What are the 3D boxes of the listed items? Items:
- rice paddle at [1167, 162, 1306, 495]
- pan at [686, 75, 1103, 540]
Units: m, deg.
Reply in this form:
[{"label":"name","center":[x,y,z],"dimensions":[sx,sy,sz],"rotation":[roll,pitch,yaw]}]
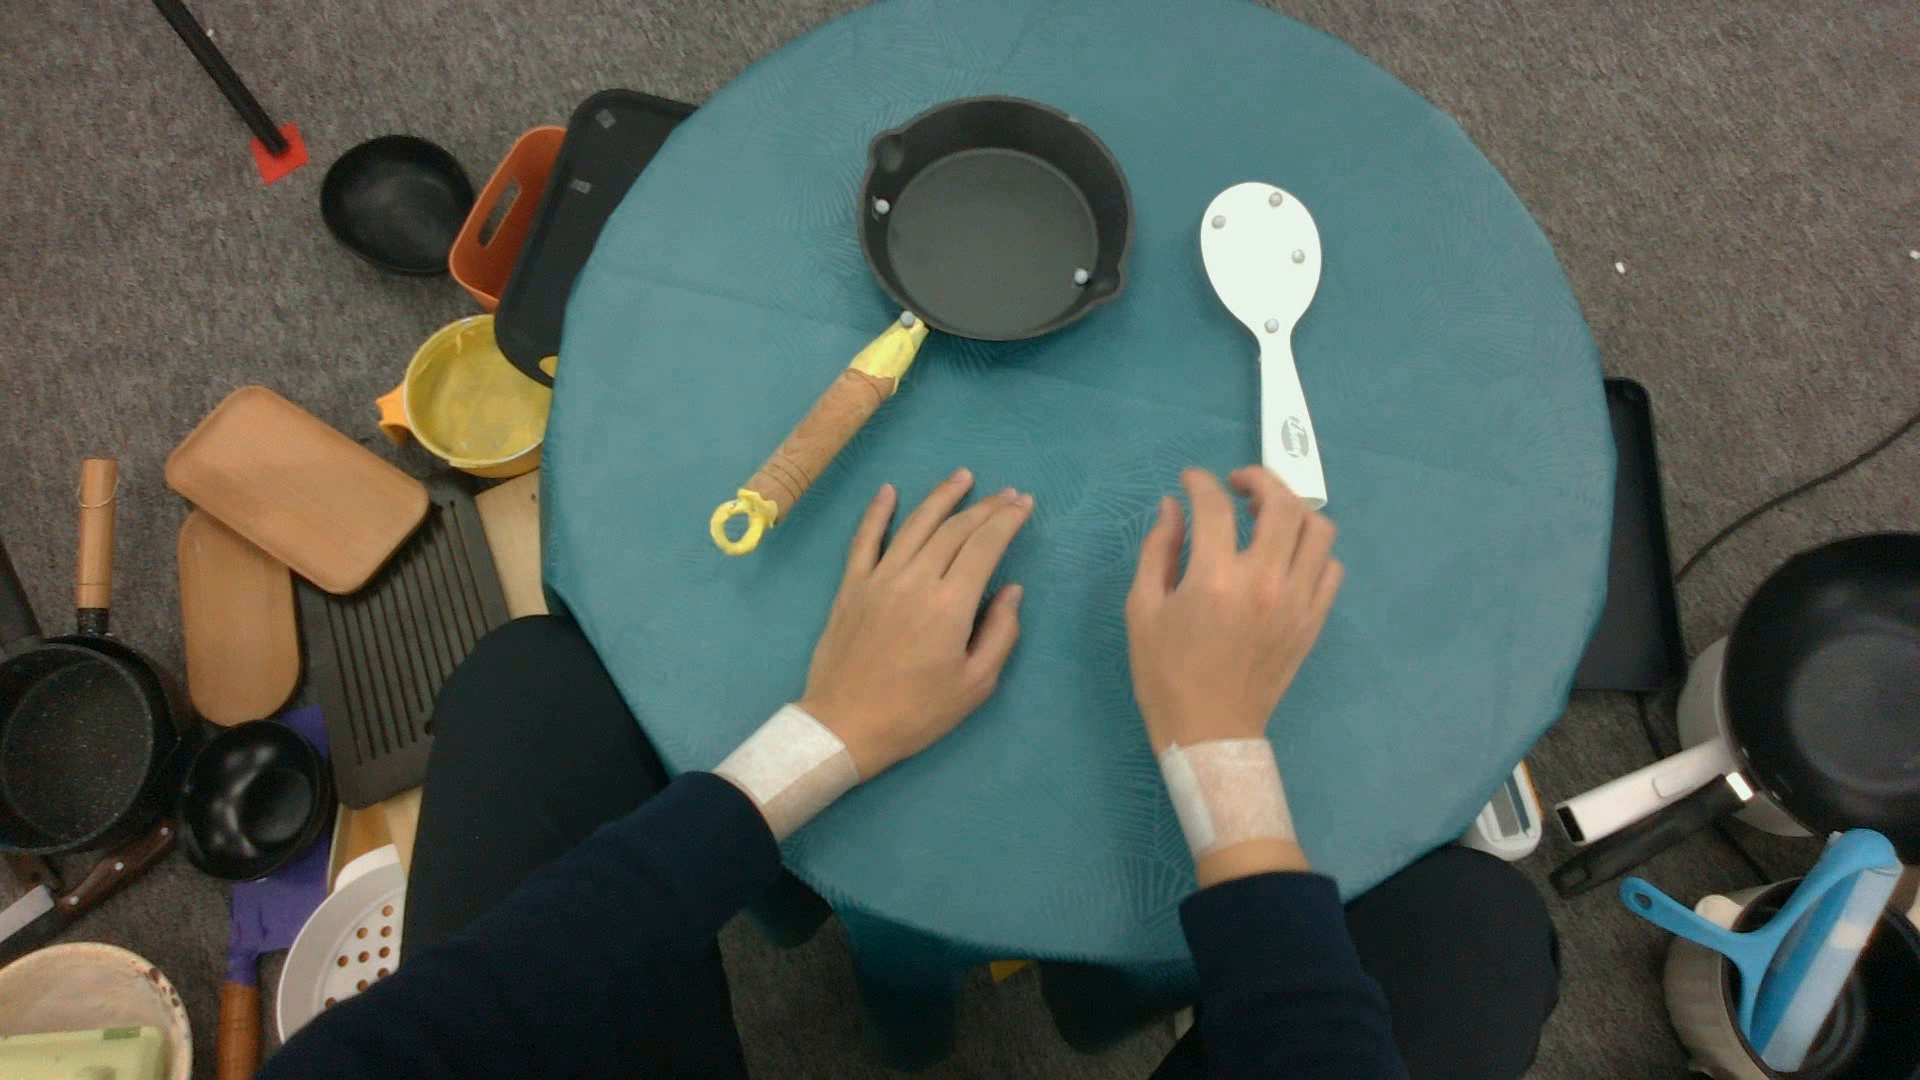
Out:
[{"label":"rice paddle","center":[0.161,-0.127,0.780],"dimensions":[0.069,0.029,0.206],"rotation":[-5,73,-7]},{"label":"pan","center":[-0.045,-0.127,0.757],"dimensions":[0.169,0.049,0.325],"rotation":[34,72,7]}]
